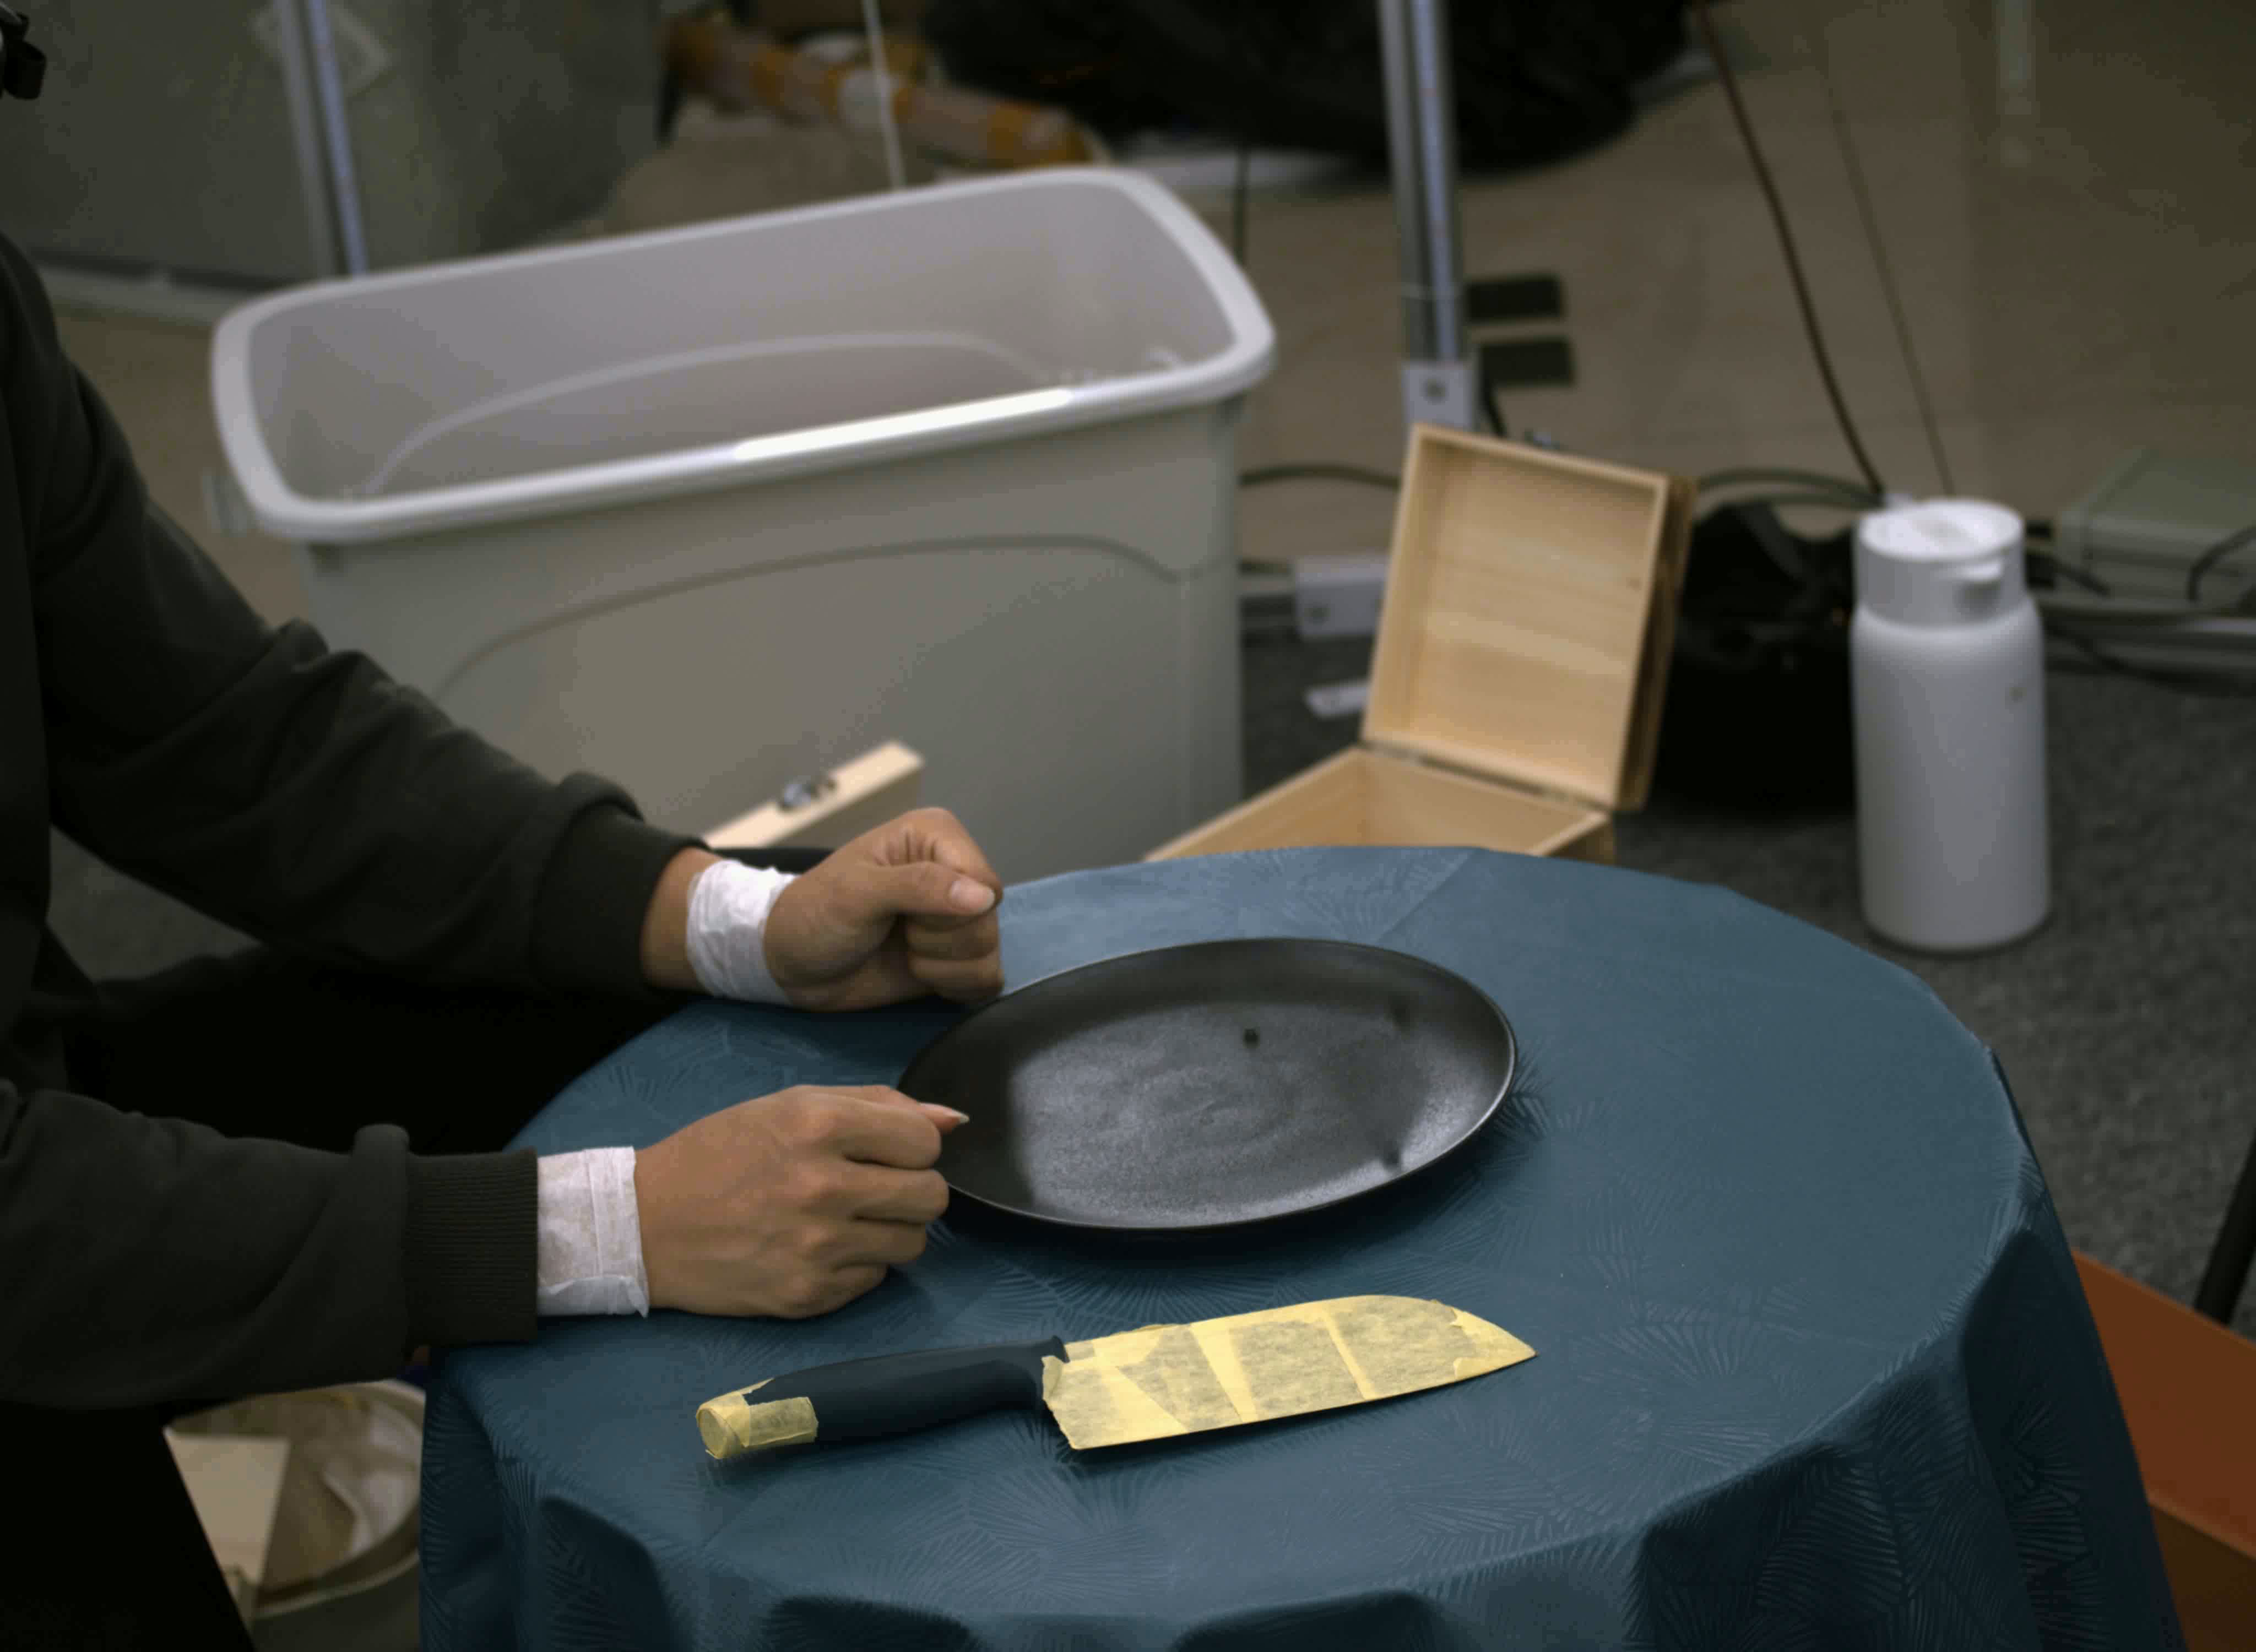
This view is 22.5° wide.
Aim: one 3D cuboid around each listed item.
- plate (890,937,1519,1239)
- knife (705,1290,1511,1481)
[{"bbox_3d":[0.030,0.106,2.188,0.244,0.024,0.241,-5,25,3],"label":"plate"},{"bbox_3d":[-0.005,0.200,2.005,0.289,0.027,0.080,-9,23,-8],"label":"knife"}]
